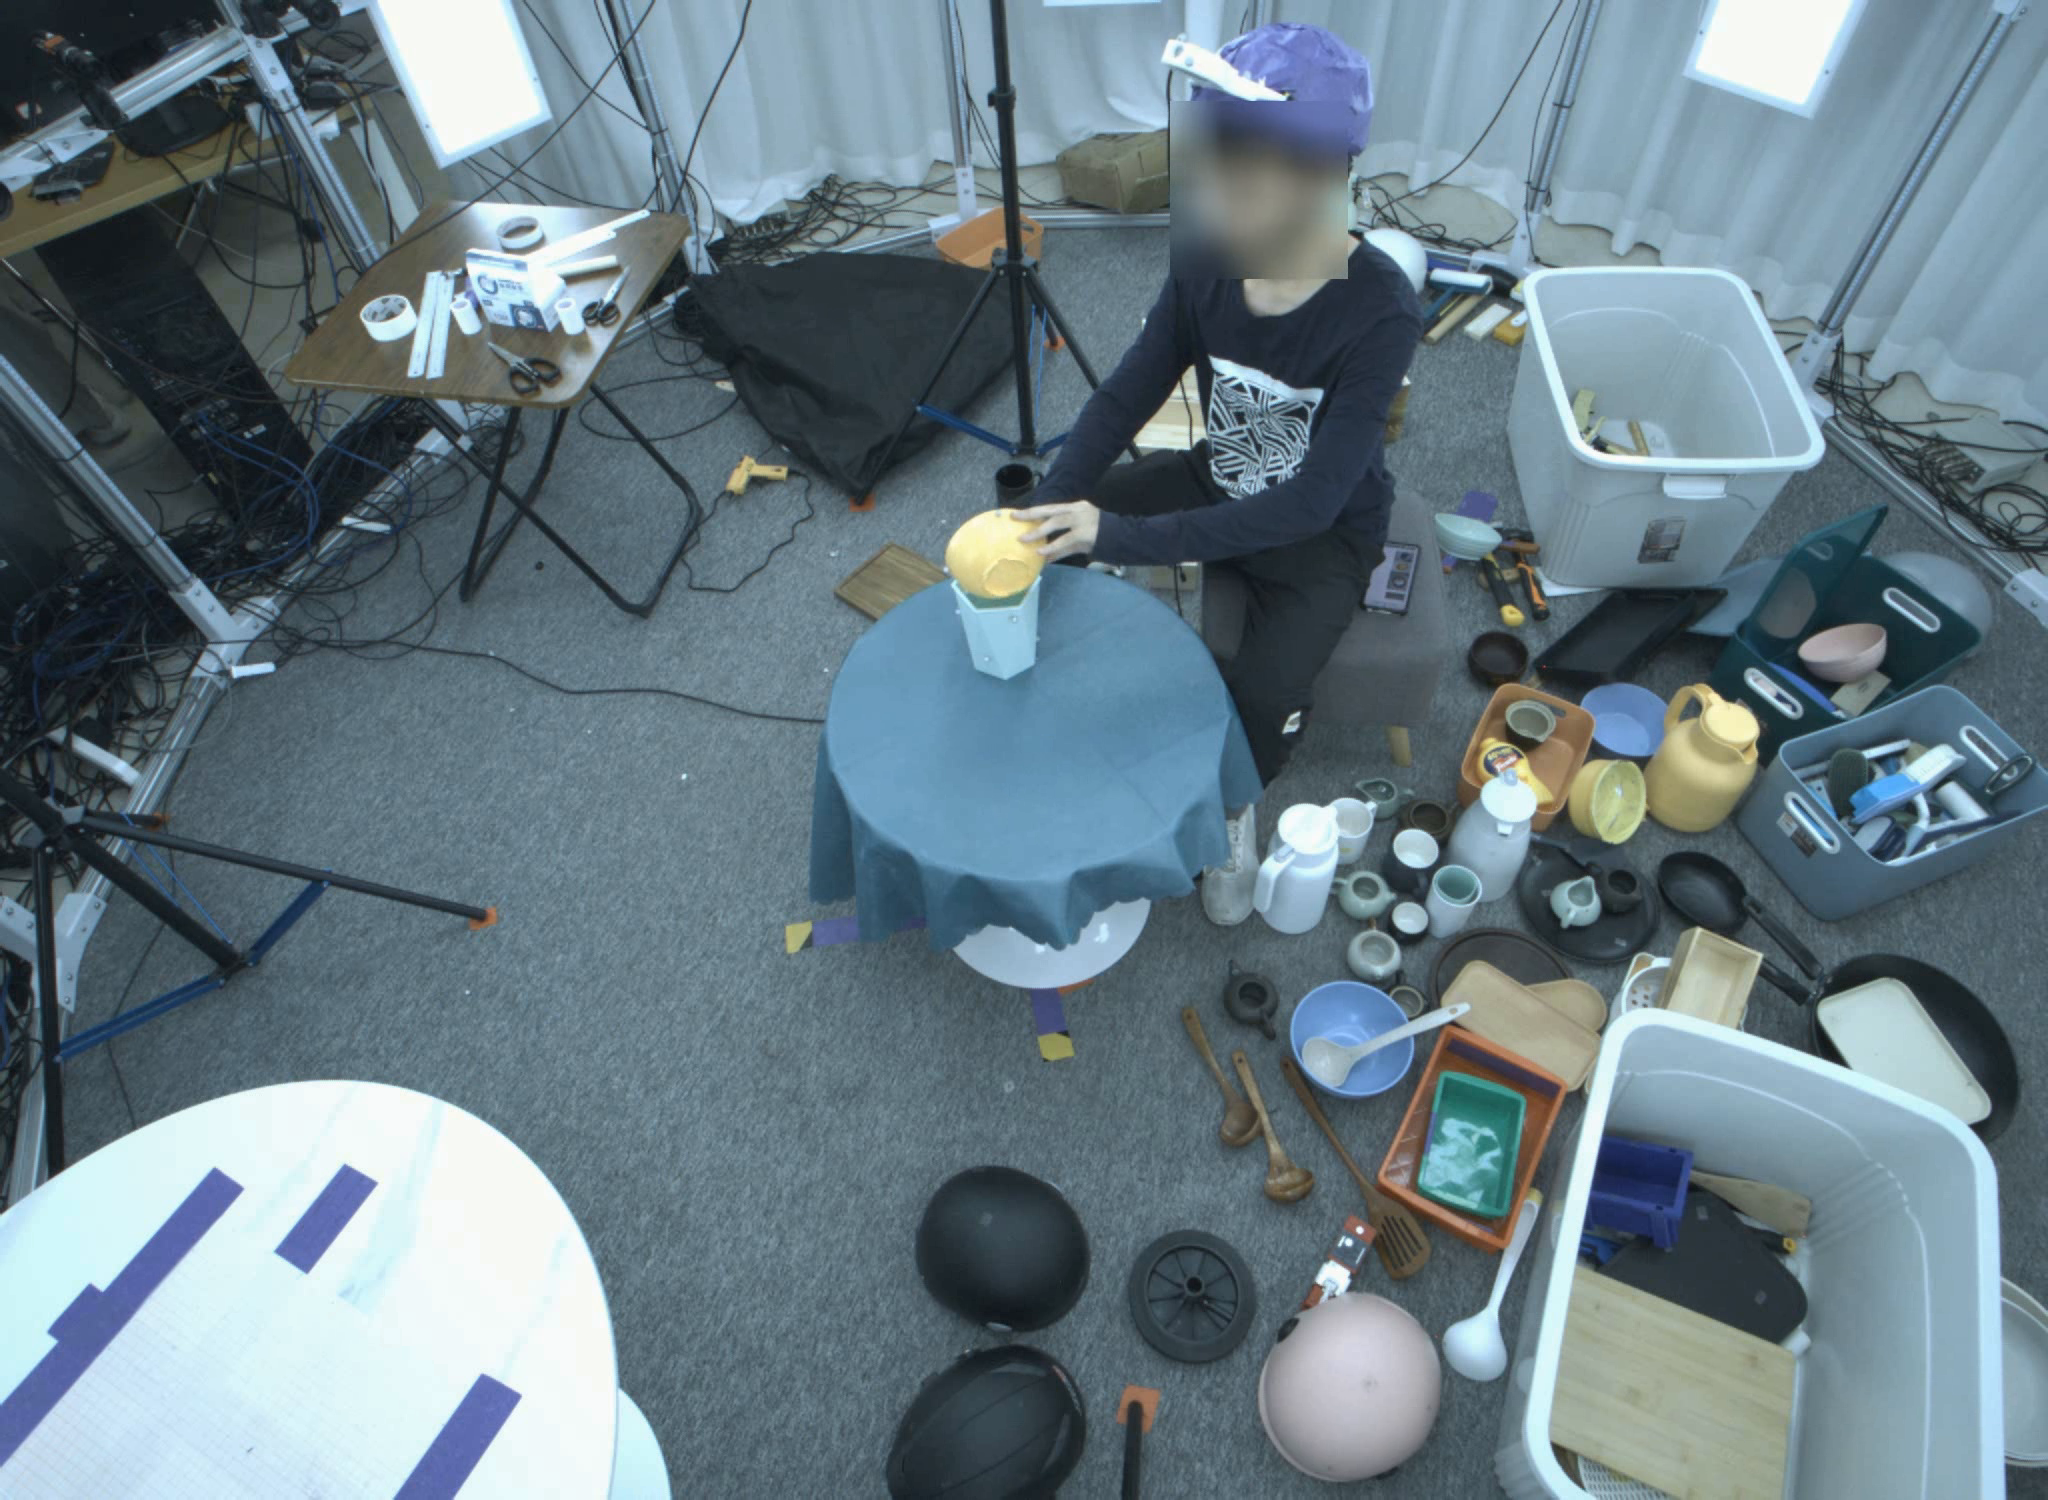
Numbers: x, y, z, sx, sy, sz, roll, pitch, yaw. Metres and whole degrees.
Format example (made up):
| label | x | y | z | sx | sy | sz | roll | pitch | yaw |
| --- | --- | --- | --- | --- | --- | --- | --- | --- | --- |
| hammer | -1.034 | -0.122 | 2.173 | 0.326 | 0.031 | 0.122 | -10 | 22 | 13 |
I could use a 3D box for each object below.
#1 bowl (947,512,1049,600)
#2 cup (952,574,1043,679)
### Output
| label | x | y | z | sx | sy | sz | roll | pitch | yaw |
| --- | --- | --- | --- | --- | --- | --- | --- | --- | --- |
| bowl | -0.028 | -0.251 | 1.666 | 0.146 | 0.147 | 0.059 | -15 | 55 | -7 |
| cup | -0.035 | -0.195 | 1.819 | 0.116 | 0.164 | 0.128 | -31 | 59 | -19 |
